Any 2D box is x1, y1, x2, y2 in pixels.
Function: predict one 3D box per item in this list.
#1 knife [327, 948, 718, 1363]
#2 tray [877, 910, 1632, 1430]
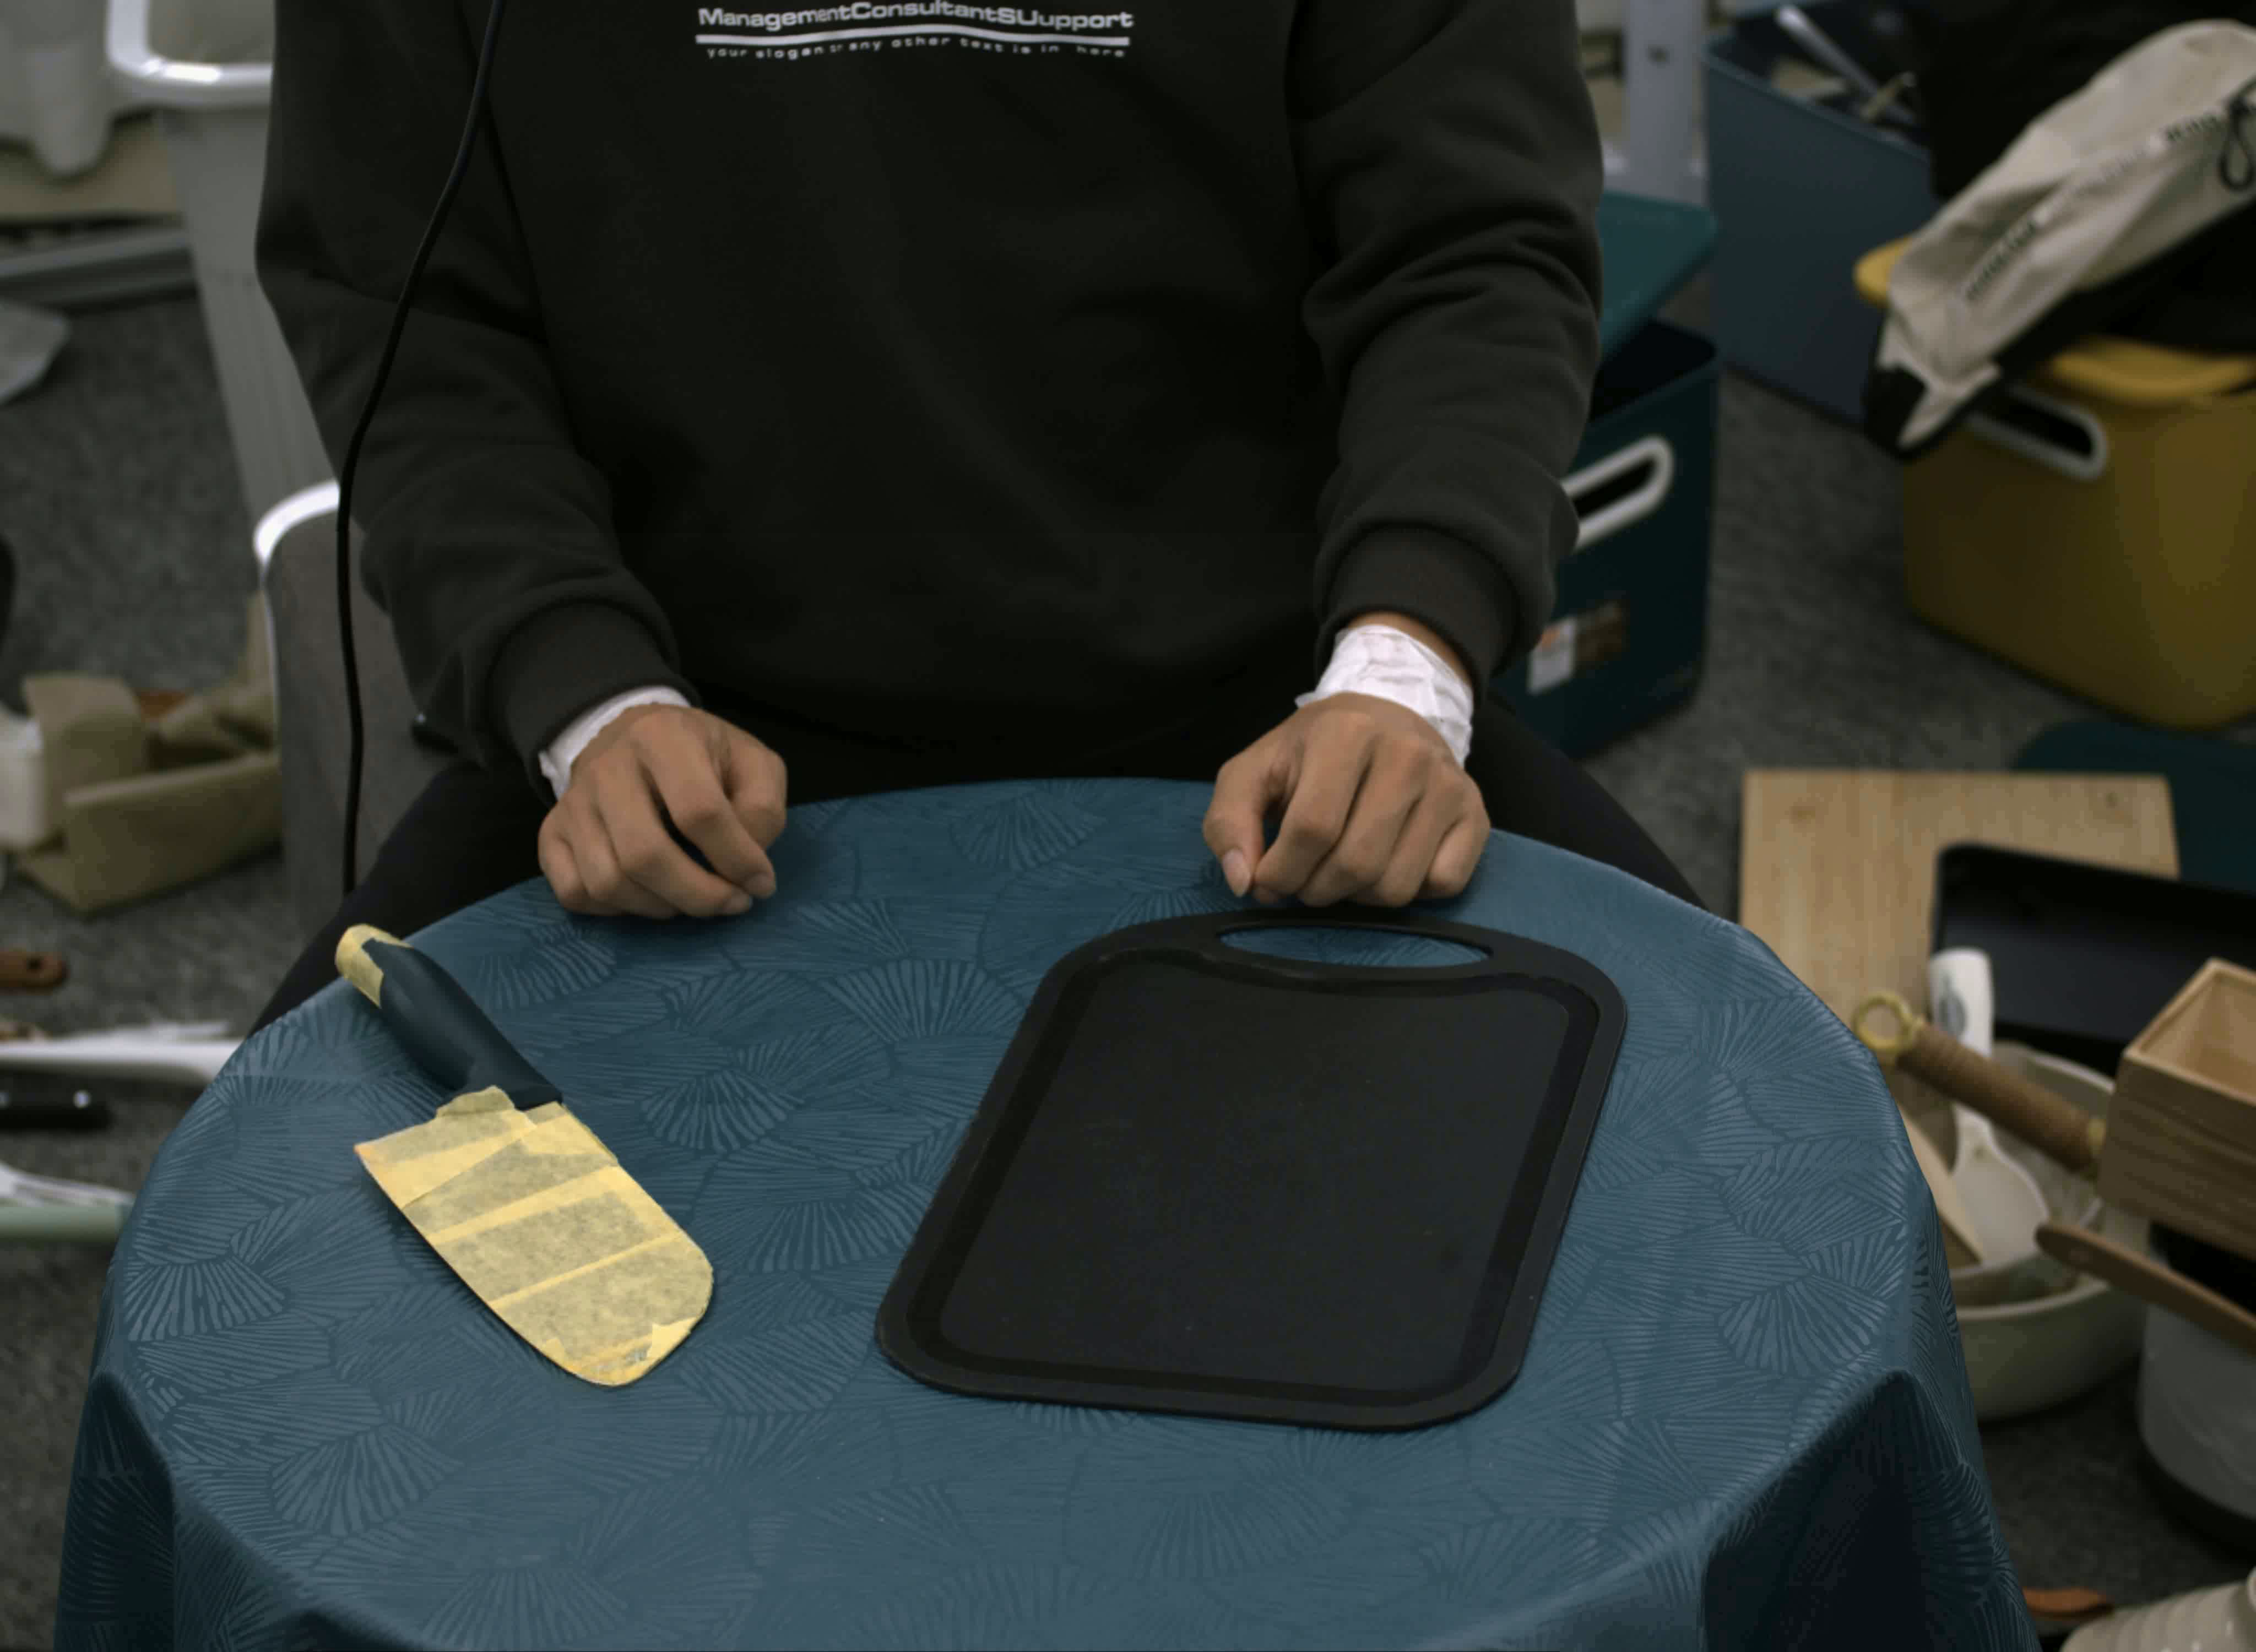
[{"bbox_3d":[-0.217,0.111,1.887,0.081,0.027,0.291,-14,30,-24],"label":"knife"},{"bbox_3d":[0.049,0.105,1.881,0.209,0.009,0.331,4,28,13],"label":"tray"}]
